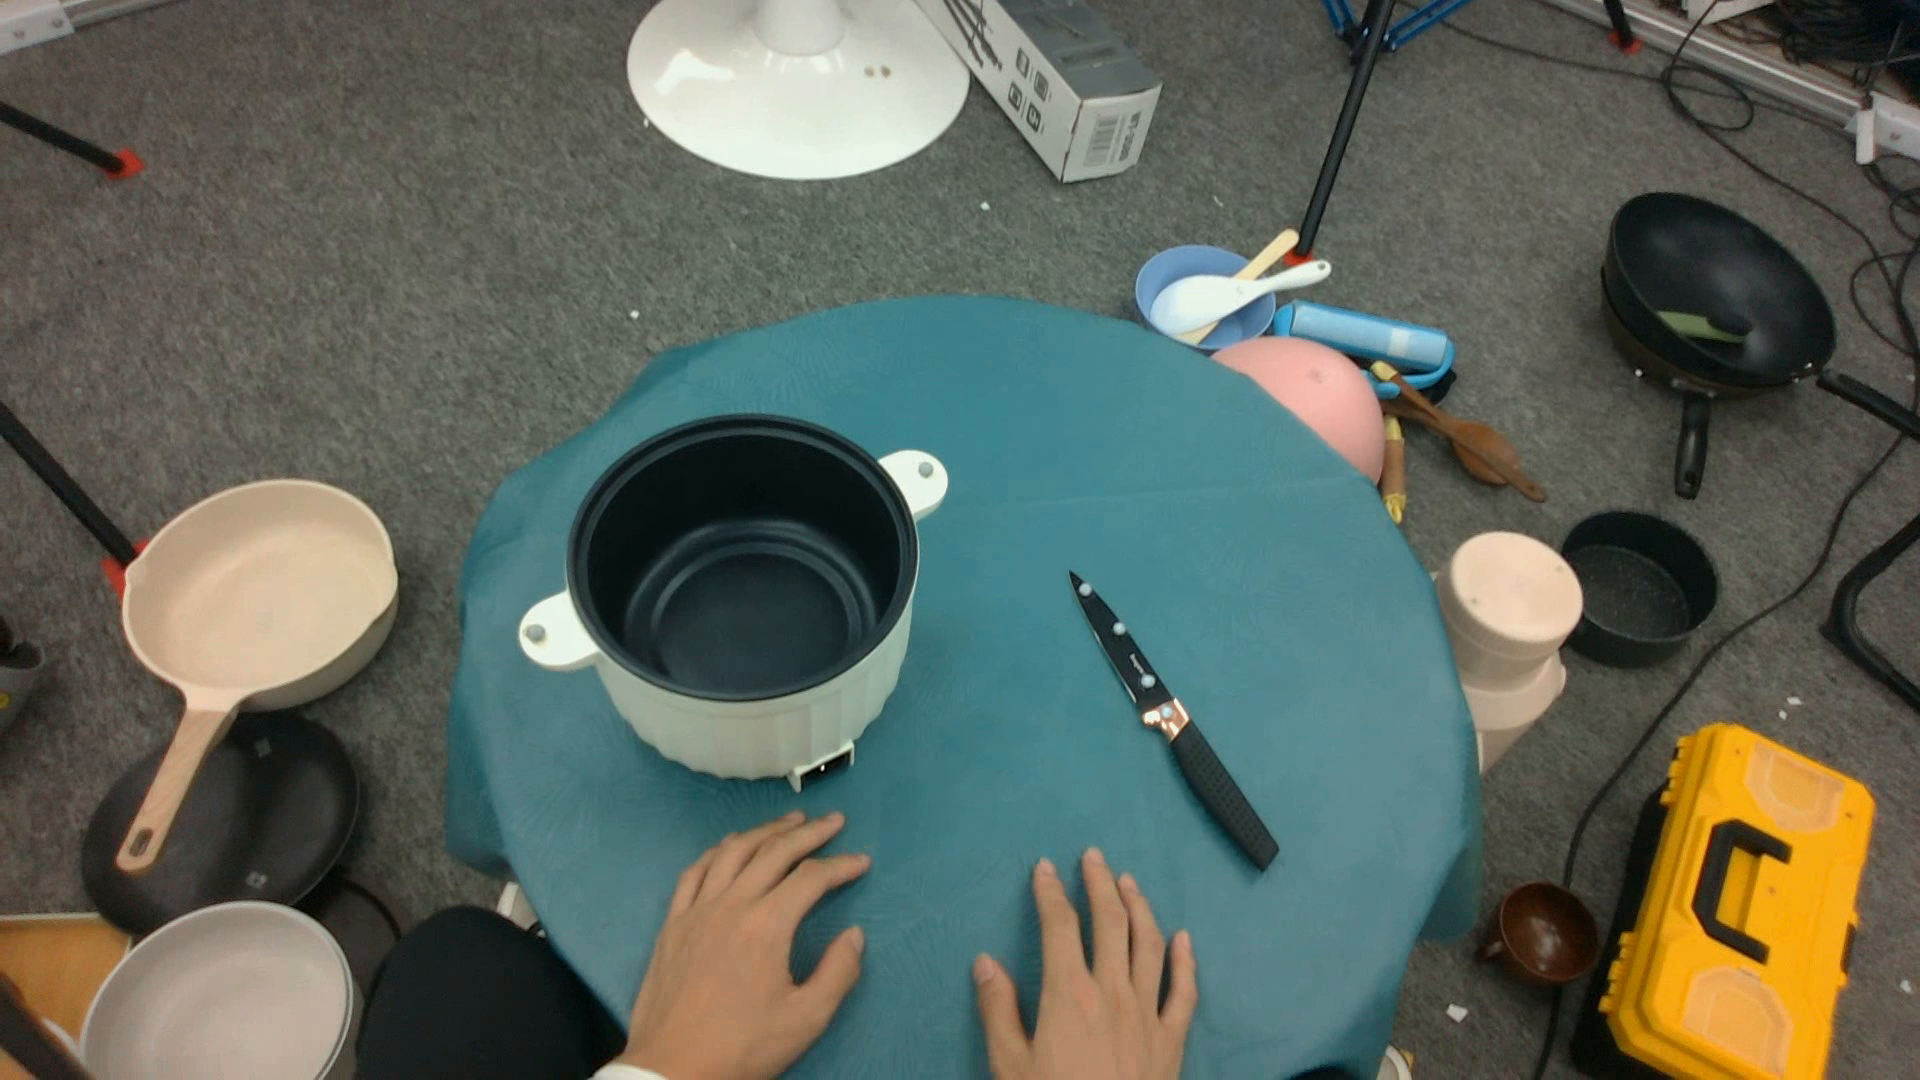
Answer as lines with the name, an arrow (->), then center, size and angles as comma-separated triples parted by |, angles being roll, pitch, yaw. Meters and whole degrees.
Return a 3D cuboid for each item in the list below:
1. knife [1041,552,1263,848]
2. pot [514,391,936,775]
knife -> 0.112, 0.089, 0.831 | 0.026, 0.017, 0.226 | -29, 62, -7
pot -> -0.126, 0.025, 0.771 | 0.241, 0.142, 0.191 | -26, 66, -22
